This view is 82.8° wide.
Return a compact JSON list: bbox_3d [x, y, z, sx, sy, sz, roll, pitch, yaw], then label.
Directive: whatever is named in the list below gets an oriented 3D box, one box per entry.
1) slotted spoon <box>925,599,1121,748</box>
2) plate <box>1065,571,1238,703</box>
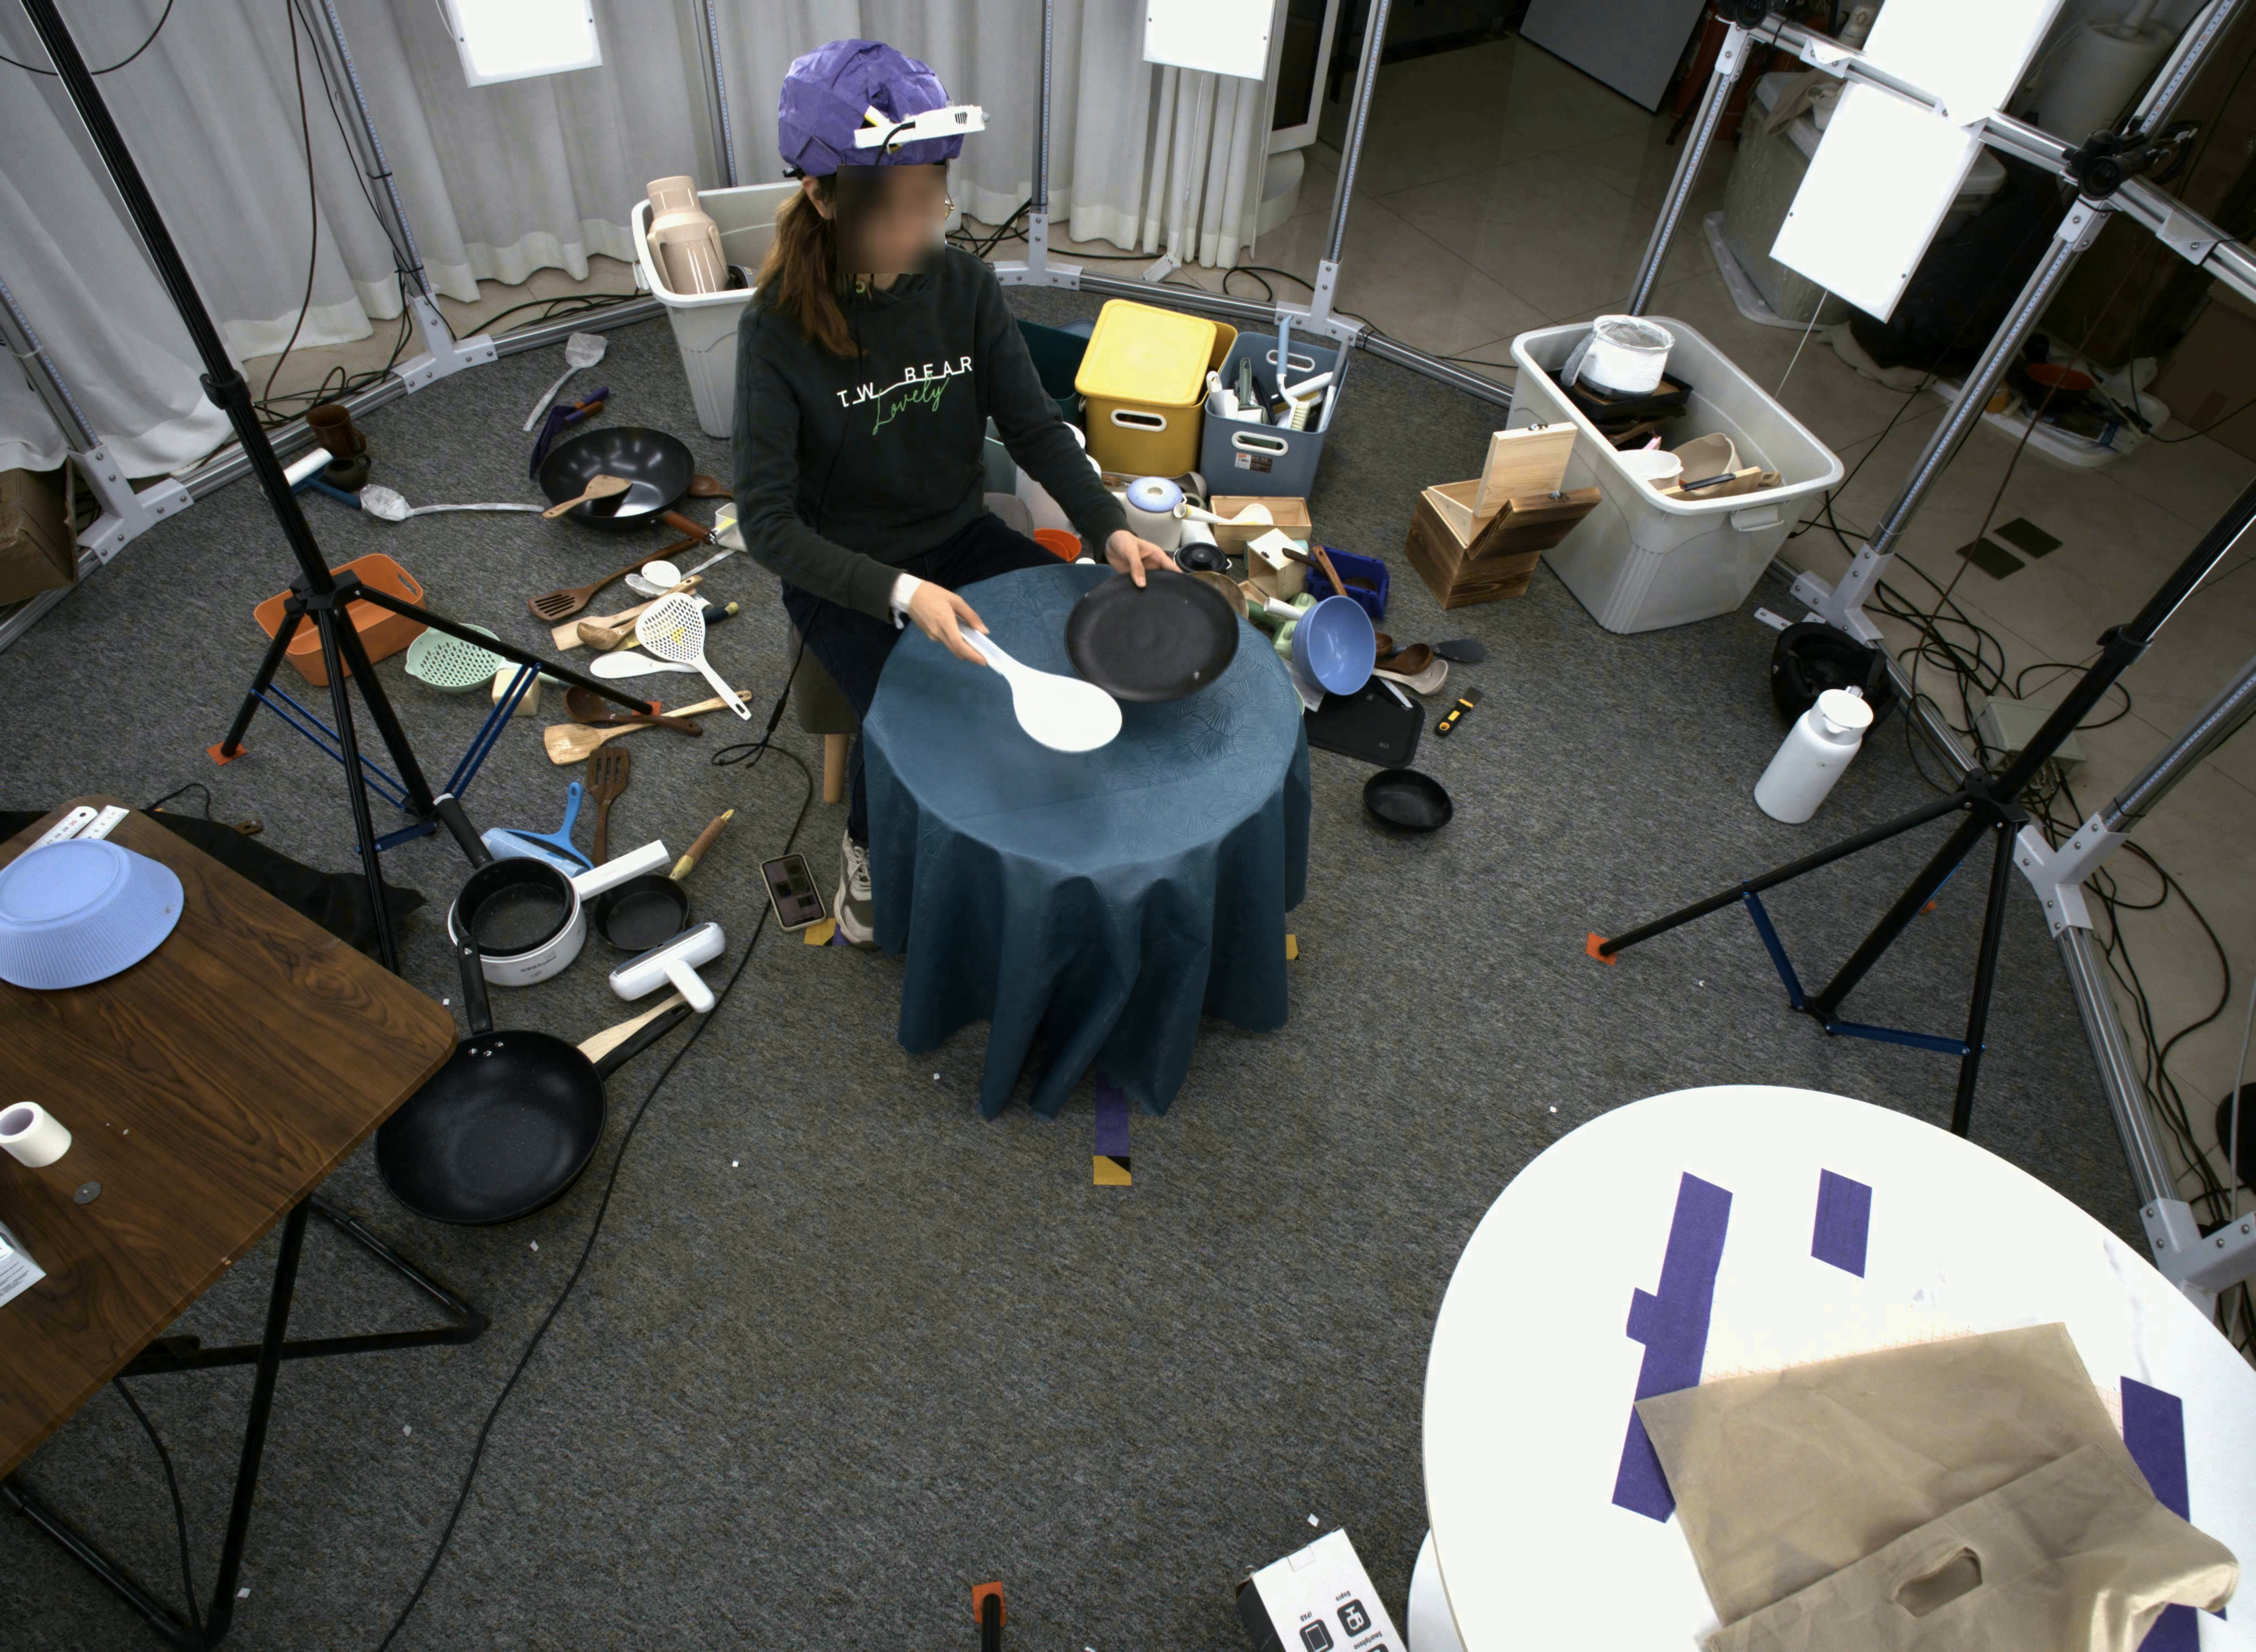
[{"bbox_3d":[-0.152,-0.207,1.707,0.137,0.045,0.355,-28,60,-36],"label":"slotted spoon"},{"bbox_3d":[0.034,-0.265,1.807,0.244,0.023,0.250,-2,55,3],"label":"plate"}]
